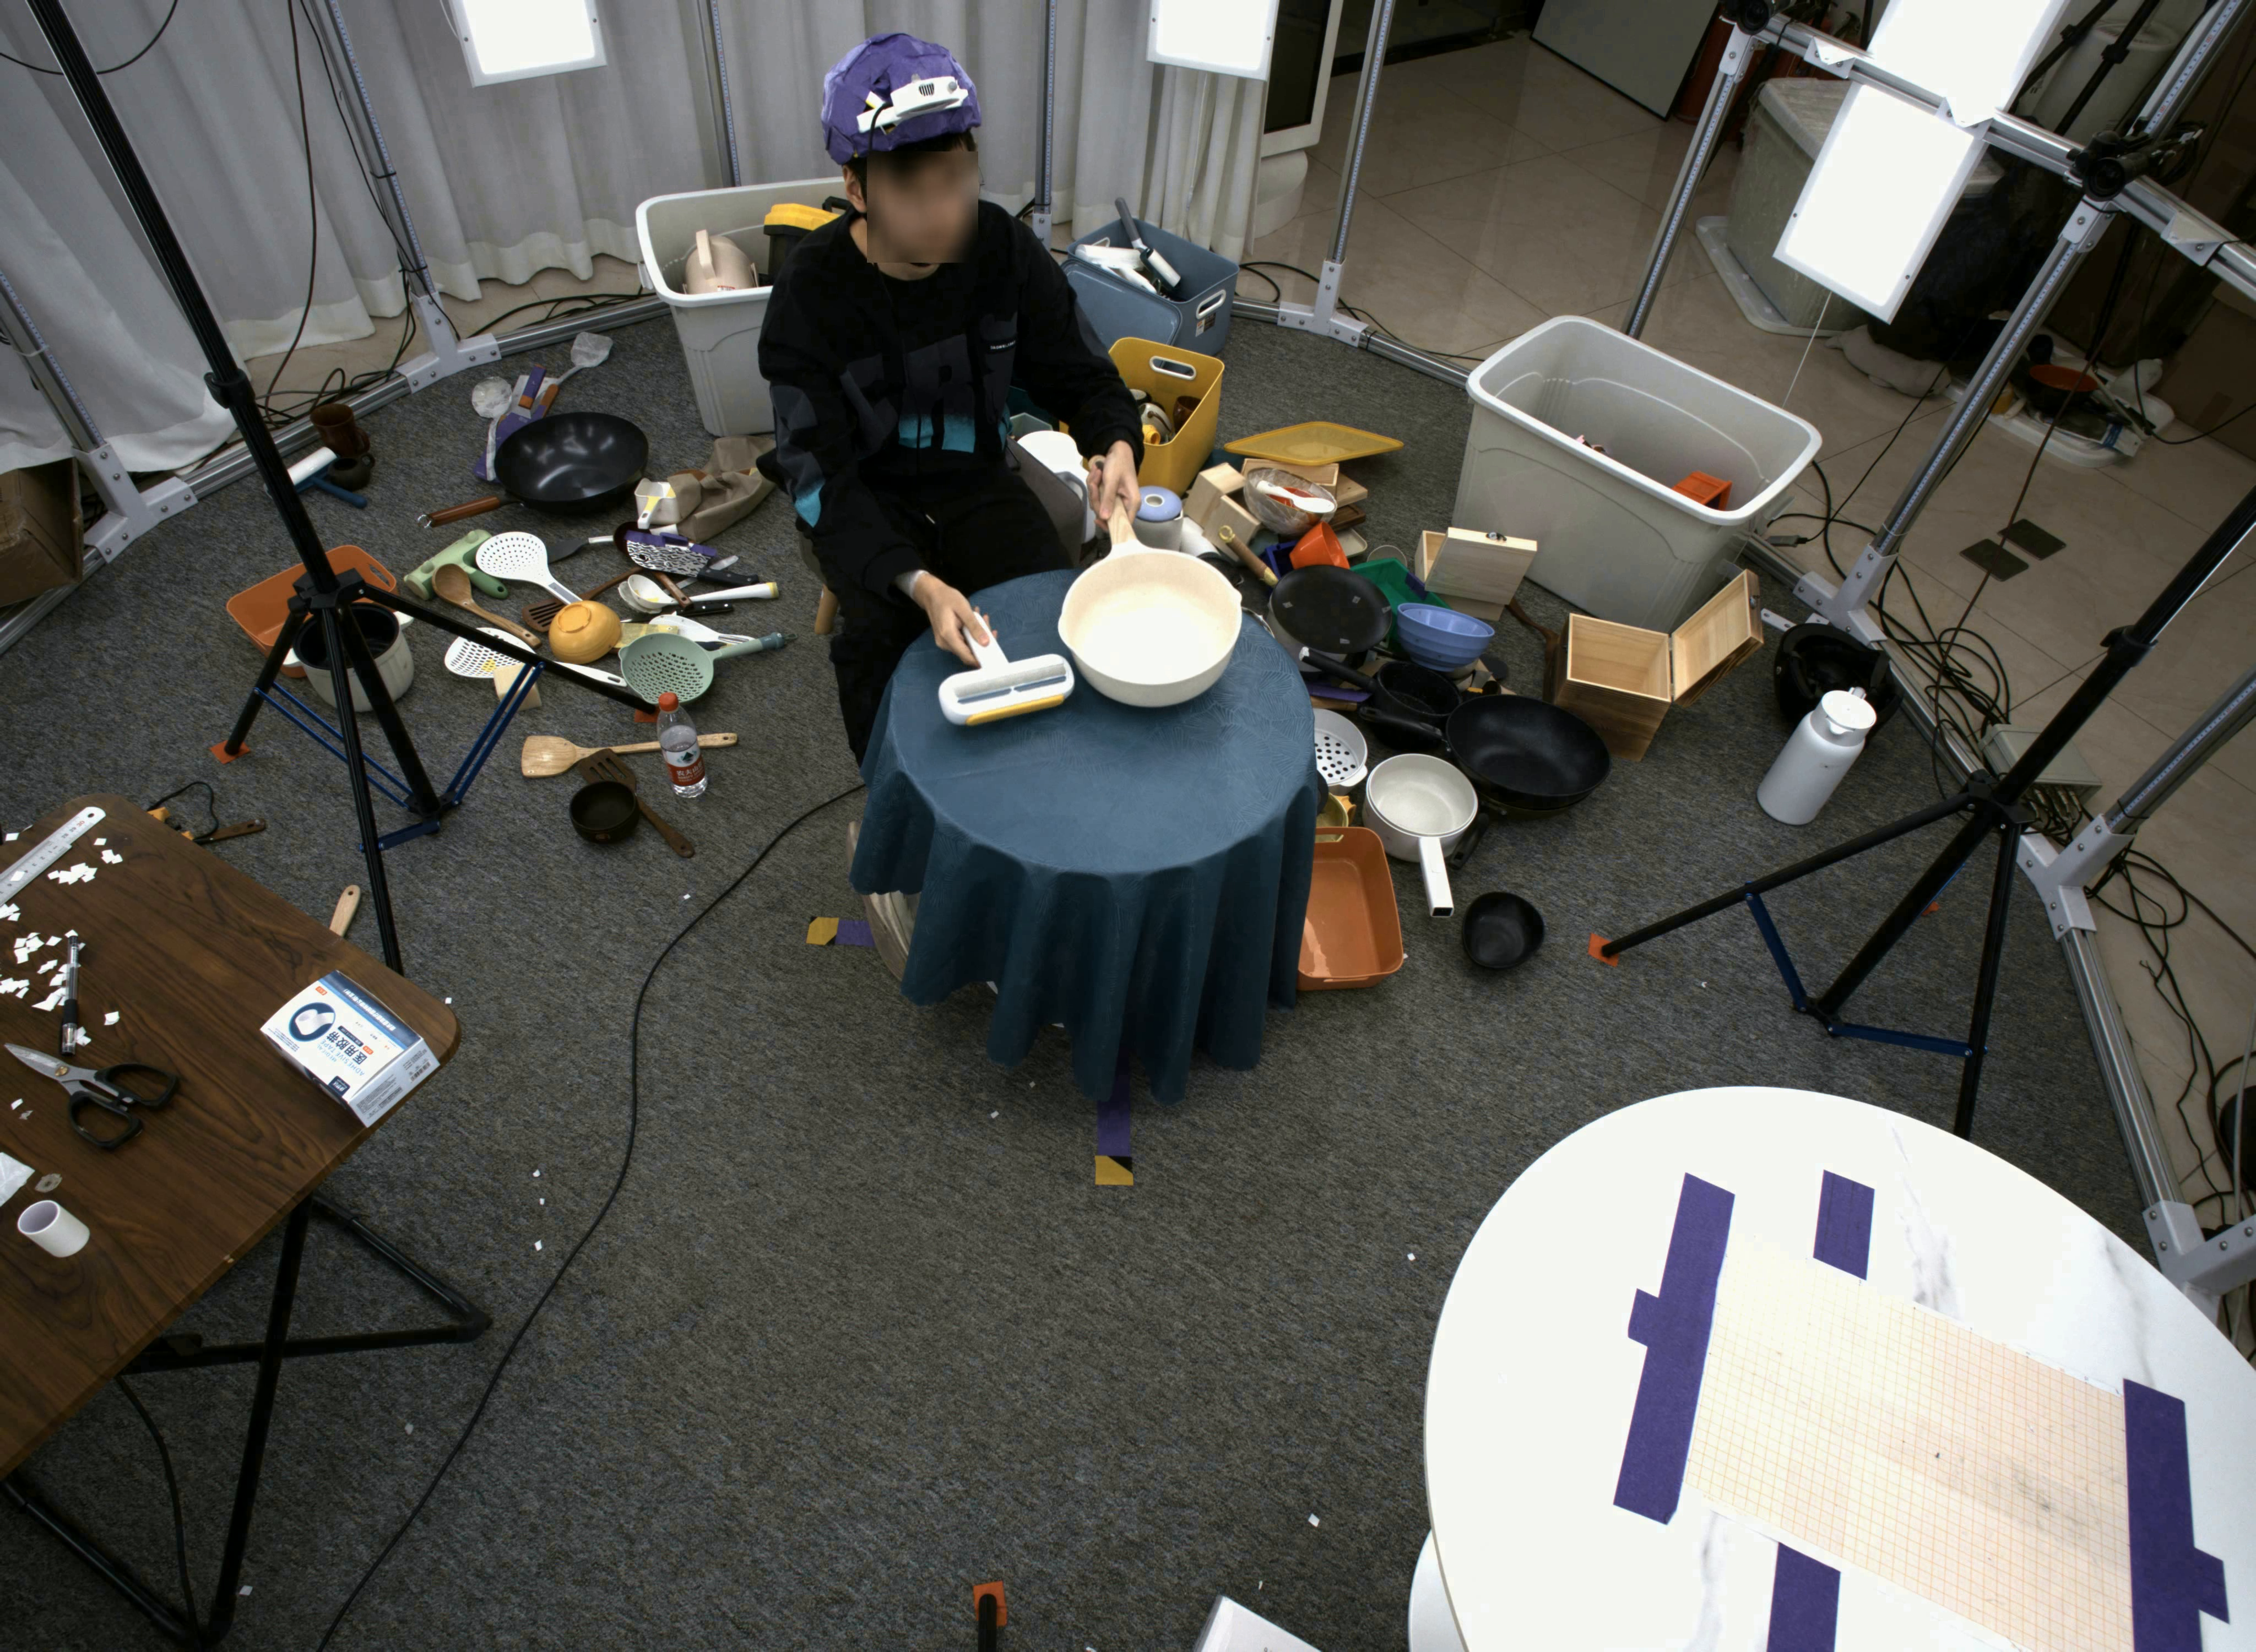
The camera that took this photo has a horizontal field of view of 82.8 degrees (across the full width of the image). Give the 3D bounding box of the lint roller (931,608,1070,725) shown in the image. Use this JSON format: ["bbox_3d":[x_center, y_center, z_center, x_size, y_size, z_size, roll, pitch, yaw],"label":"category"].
[{"bbox_3d":[-0.193,-0.234,1.788,0.193,0.073,0.196,-13,65,-18],"label":"lint roller"}]

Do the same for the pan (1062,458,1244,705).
[{"bbox_3d":[0.013,-0.356,1.870,0.263,0.099,0.445,-15,56,-5],"label":"pan"}]
